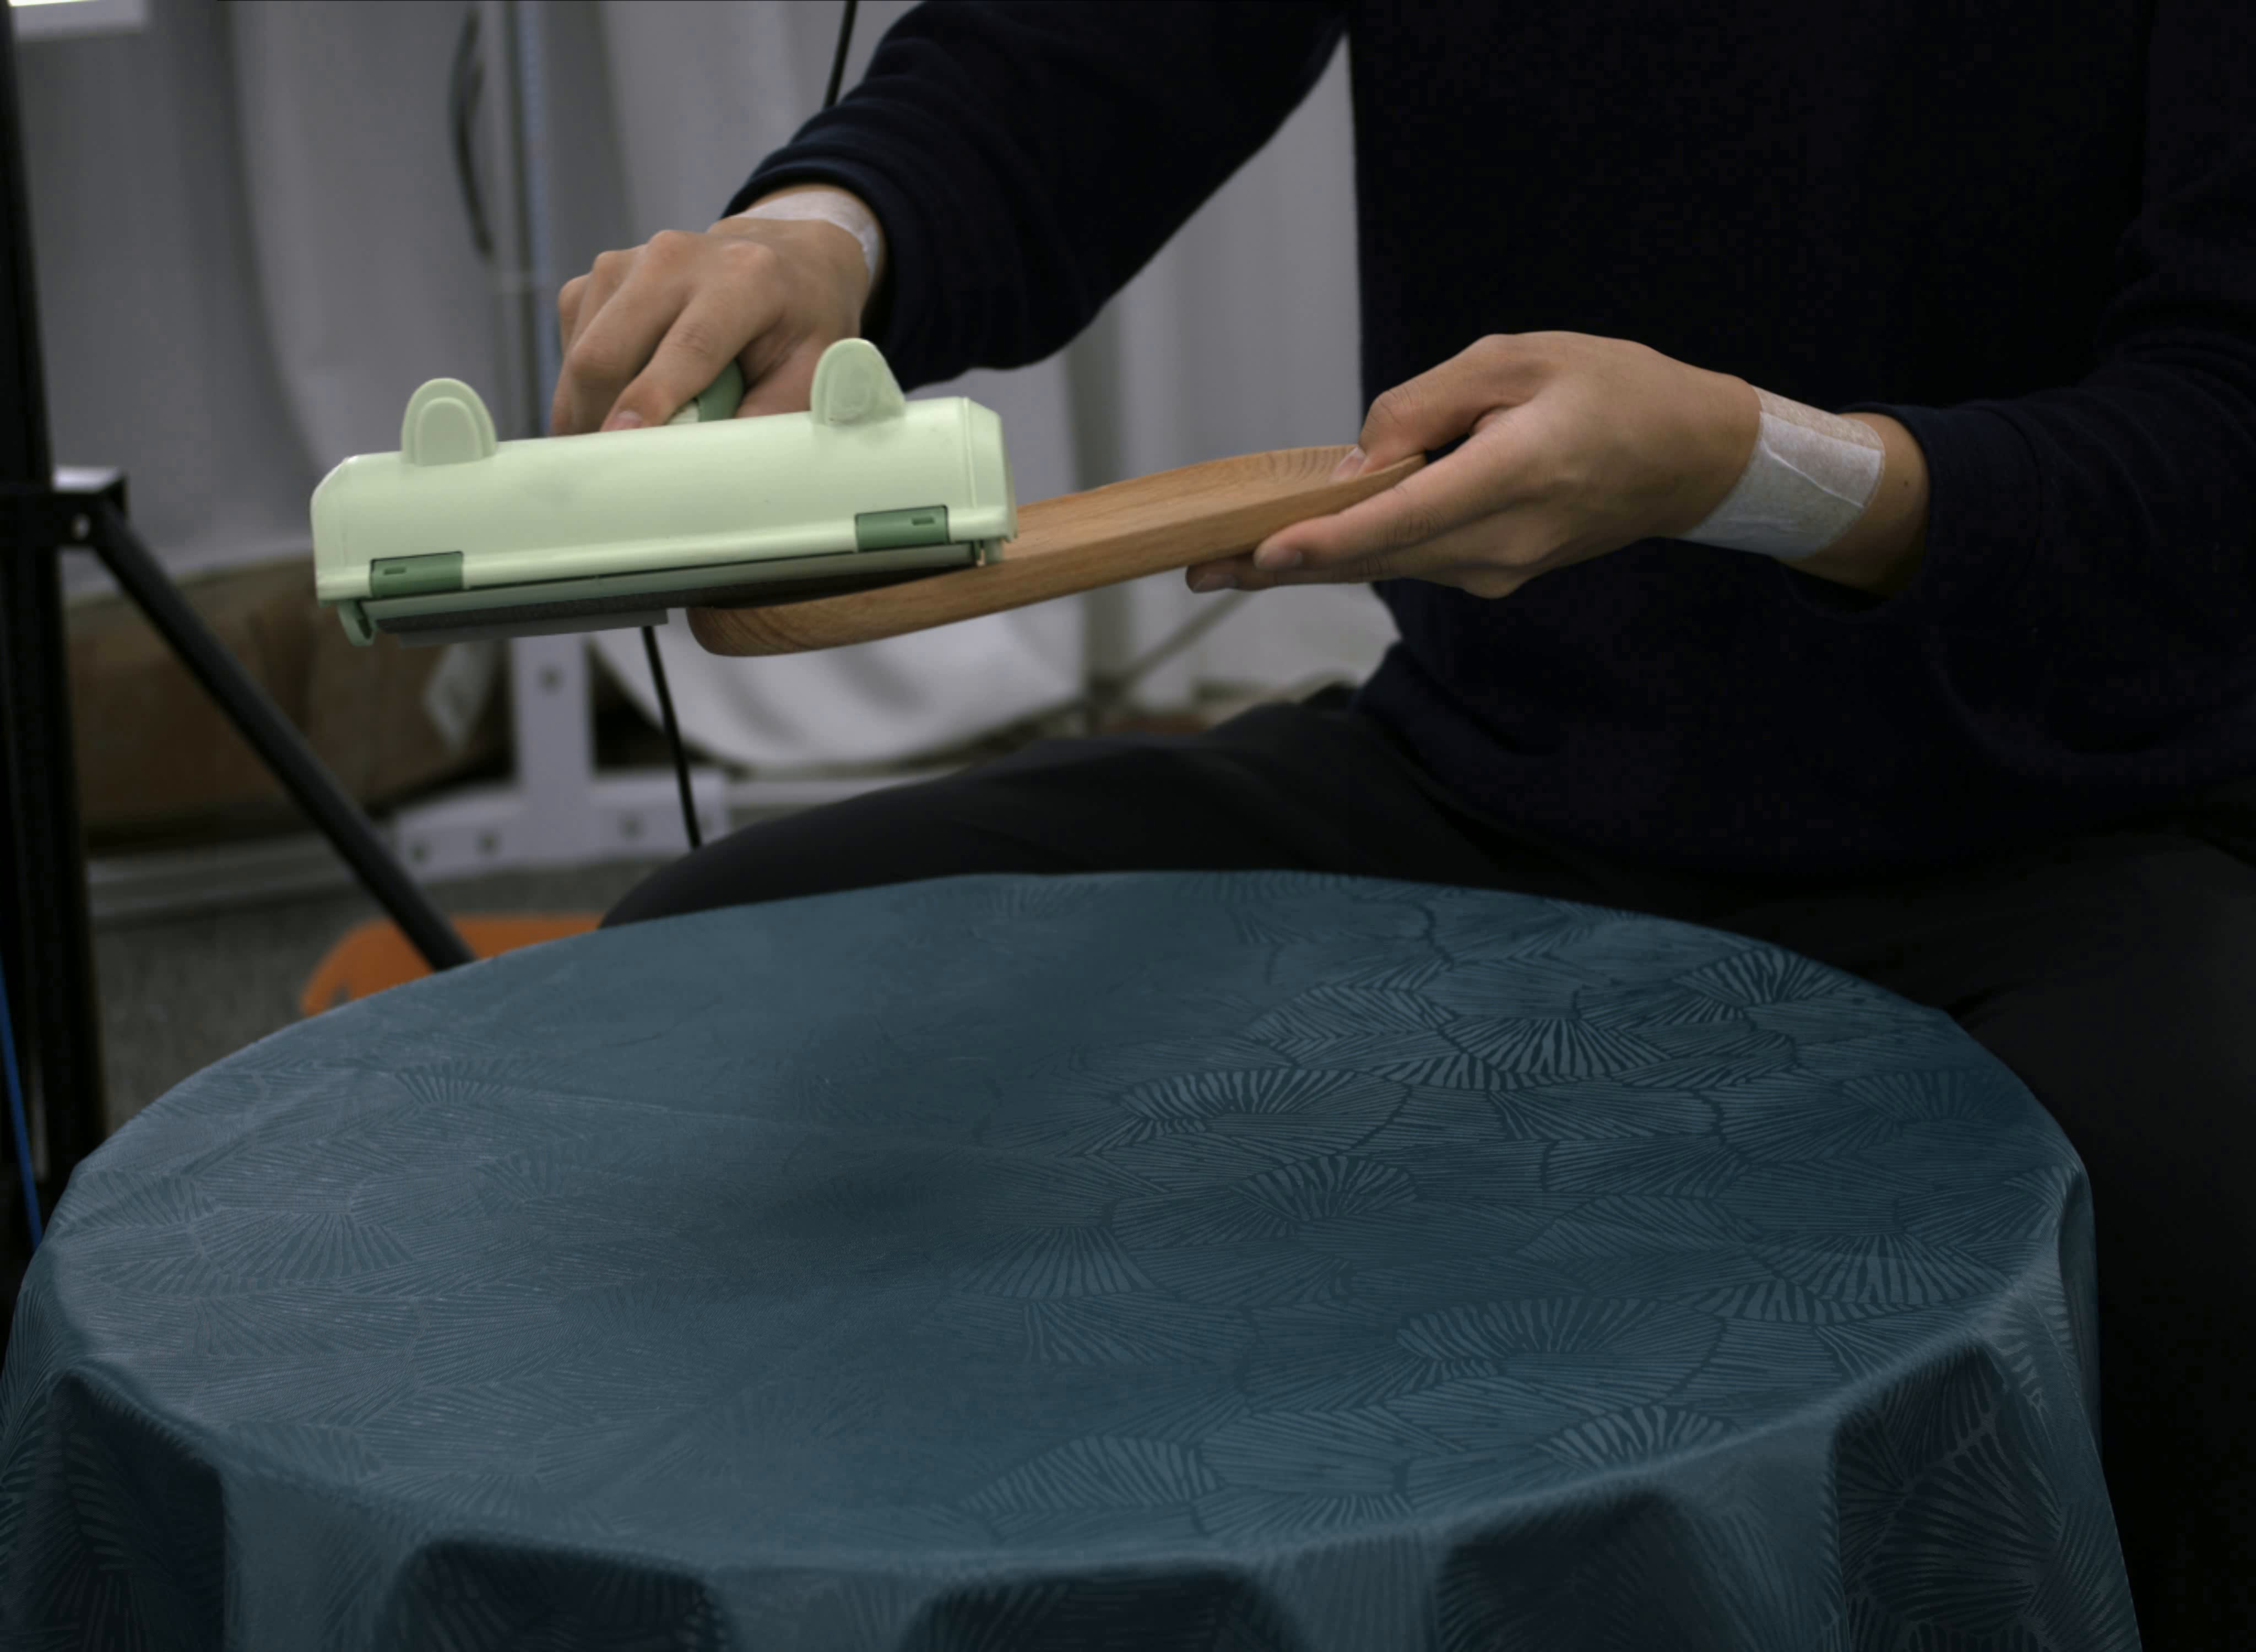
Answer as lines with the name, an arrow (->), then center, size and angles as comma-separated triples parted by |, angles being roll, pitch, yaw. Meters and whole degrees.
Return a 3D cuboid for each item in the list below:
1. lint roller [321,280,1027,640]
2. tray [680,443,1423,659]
lint roller -> -0.132, -0.129, 1.550 | 0.198, 0.081, 0.185 | -6, 38, 1
tray -> -0.020, -0.080, 1.543 | 0.227, 0.020, 0.103 | -16, 12, -23
